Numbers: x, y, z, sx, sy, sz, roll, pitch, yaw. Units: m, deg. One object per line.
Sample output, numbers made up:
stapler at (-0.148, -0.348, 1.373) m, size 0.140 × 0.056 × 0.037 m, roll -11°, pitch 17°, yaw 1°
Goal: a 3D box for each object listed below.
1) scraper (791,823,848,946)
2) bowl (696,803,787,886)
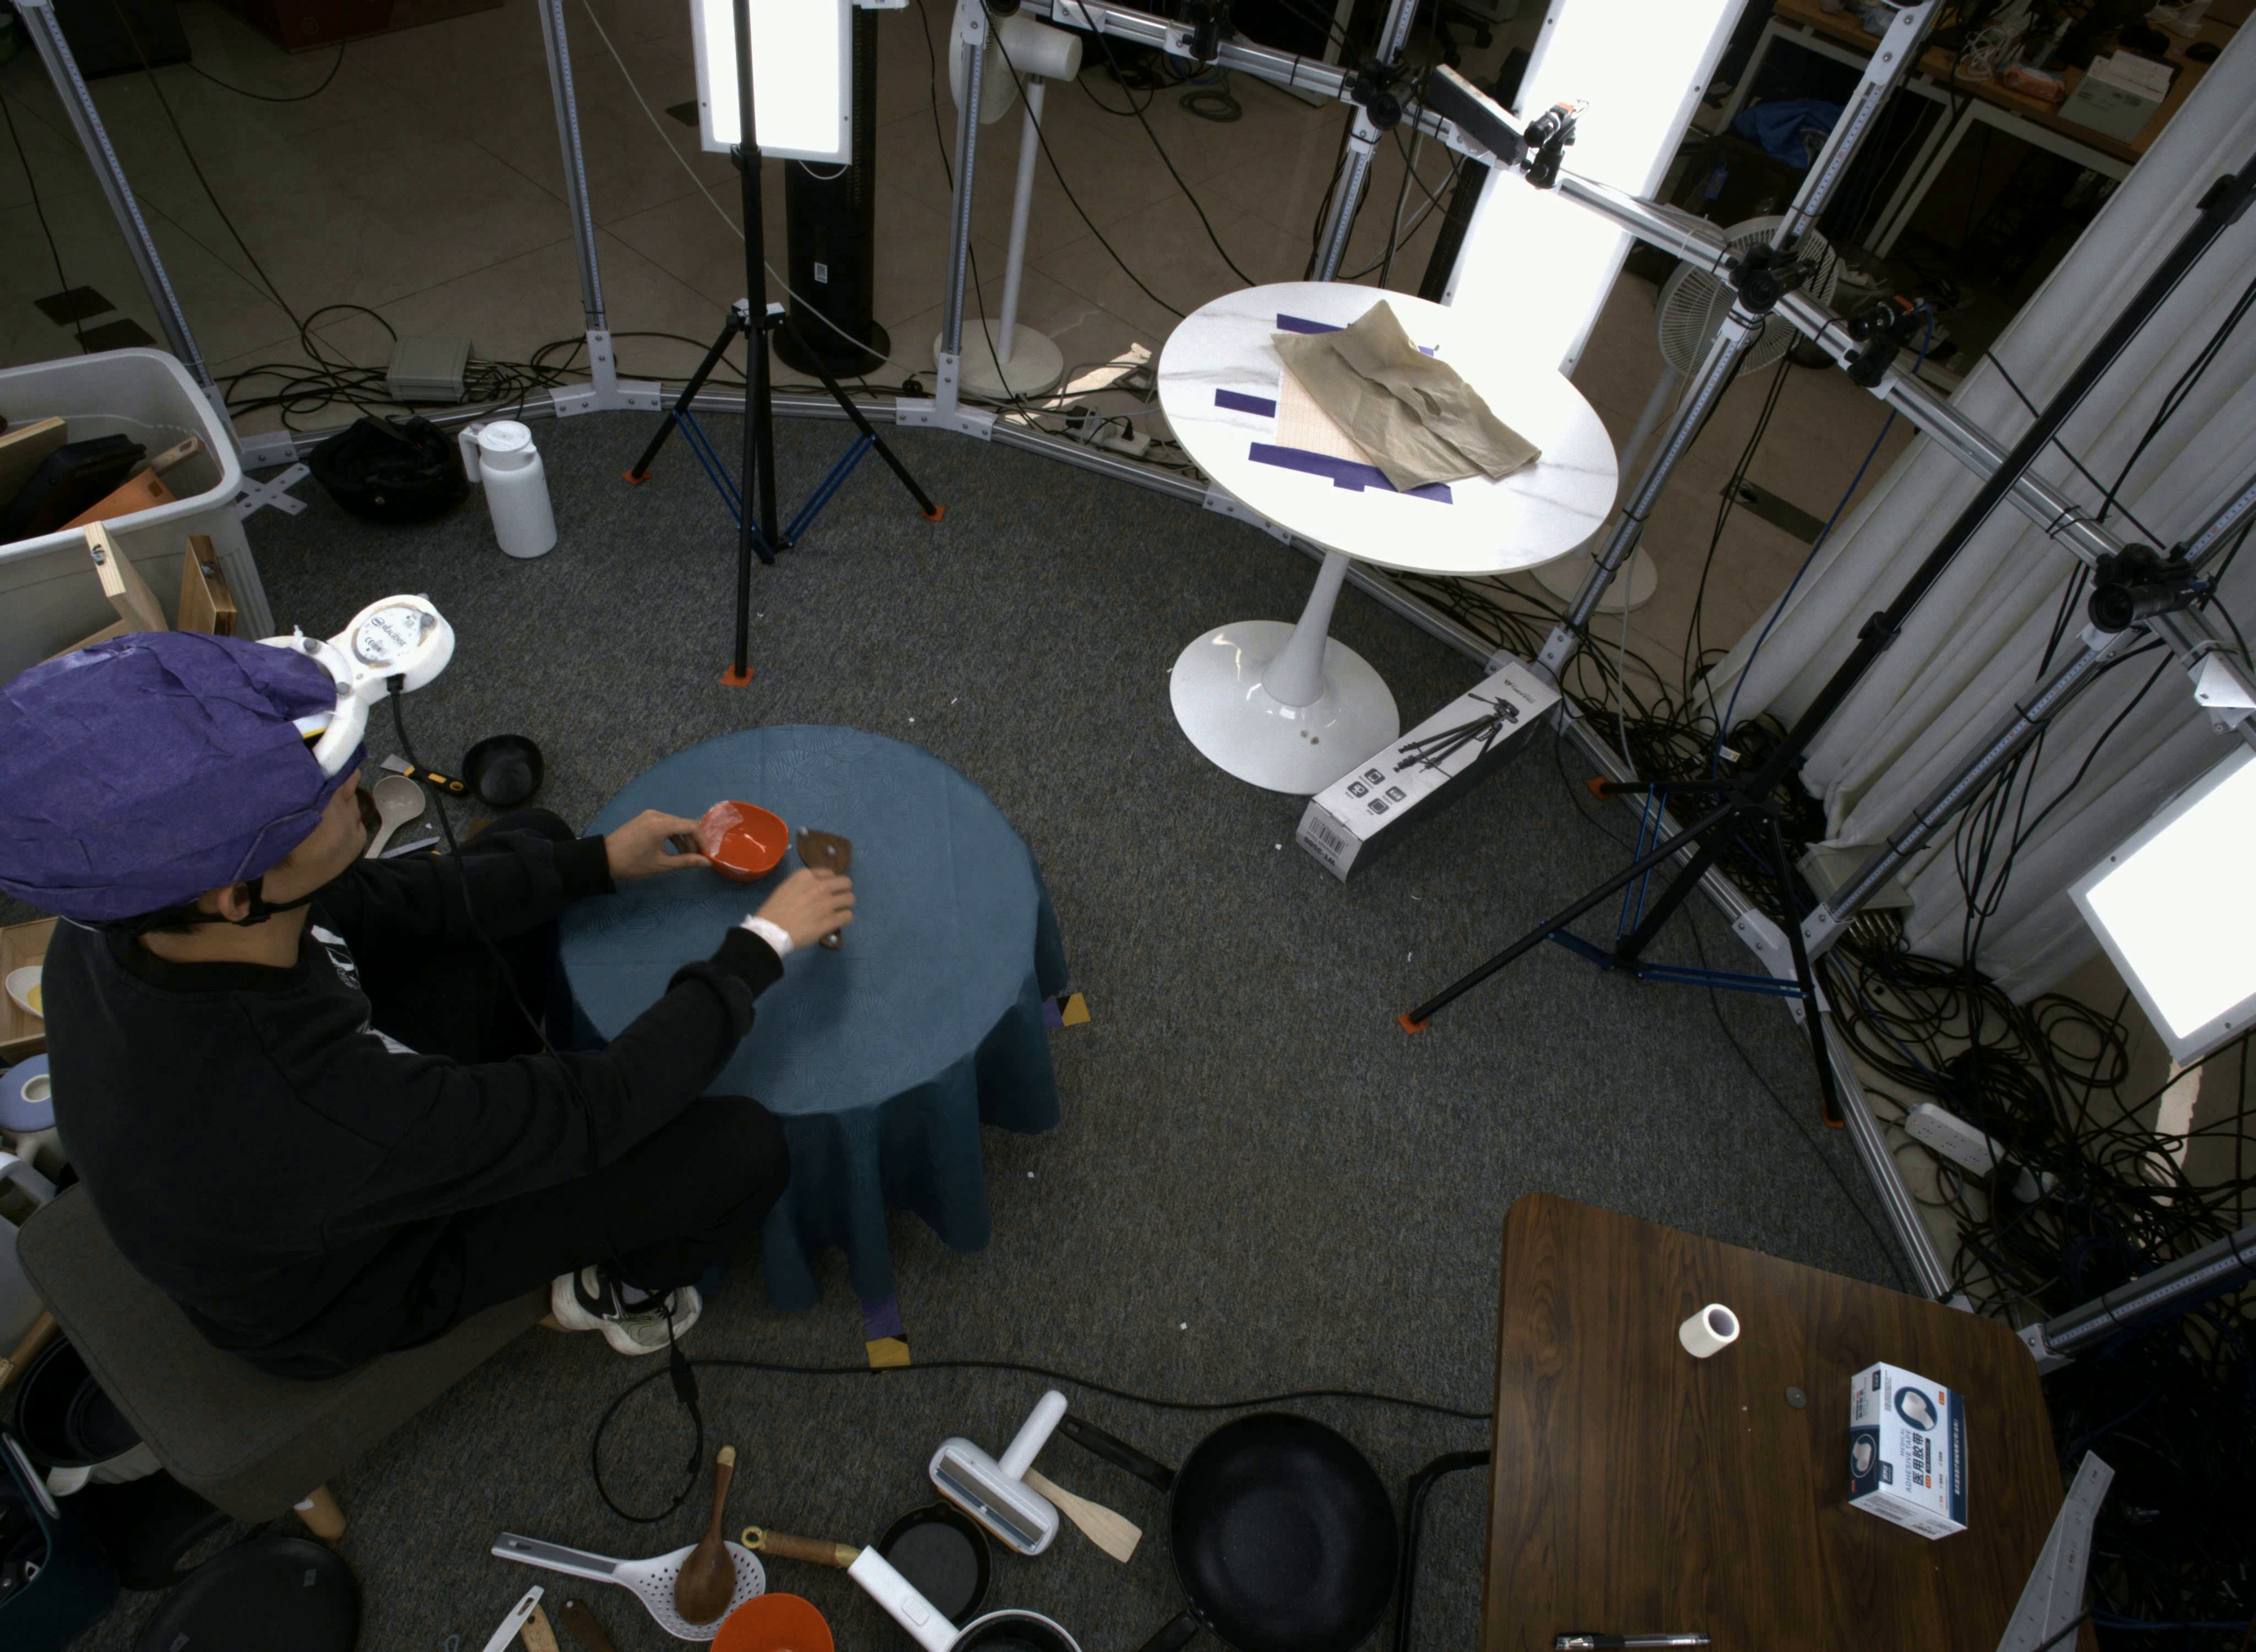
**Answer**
scraper at (-0.373, 0.069, 1.585) m, size 0.077 × 0.011 × 0.205 m, roll 18°, pitch 33°, yaw -30°
bowl at (-0.496, 0.030, 1.648) m, size 0.120 × 0.052 × 0.116 m, roll 19°, pitch 43°, yaw -17°
